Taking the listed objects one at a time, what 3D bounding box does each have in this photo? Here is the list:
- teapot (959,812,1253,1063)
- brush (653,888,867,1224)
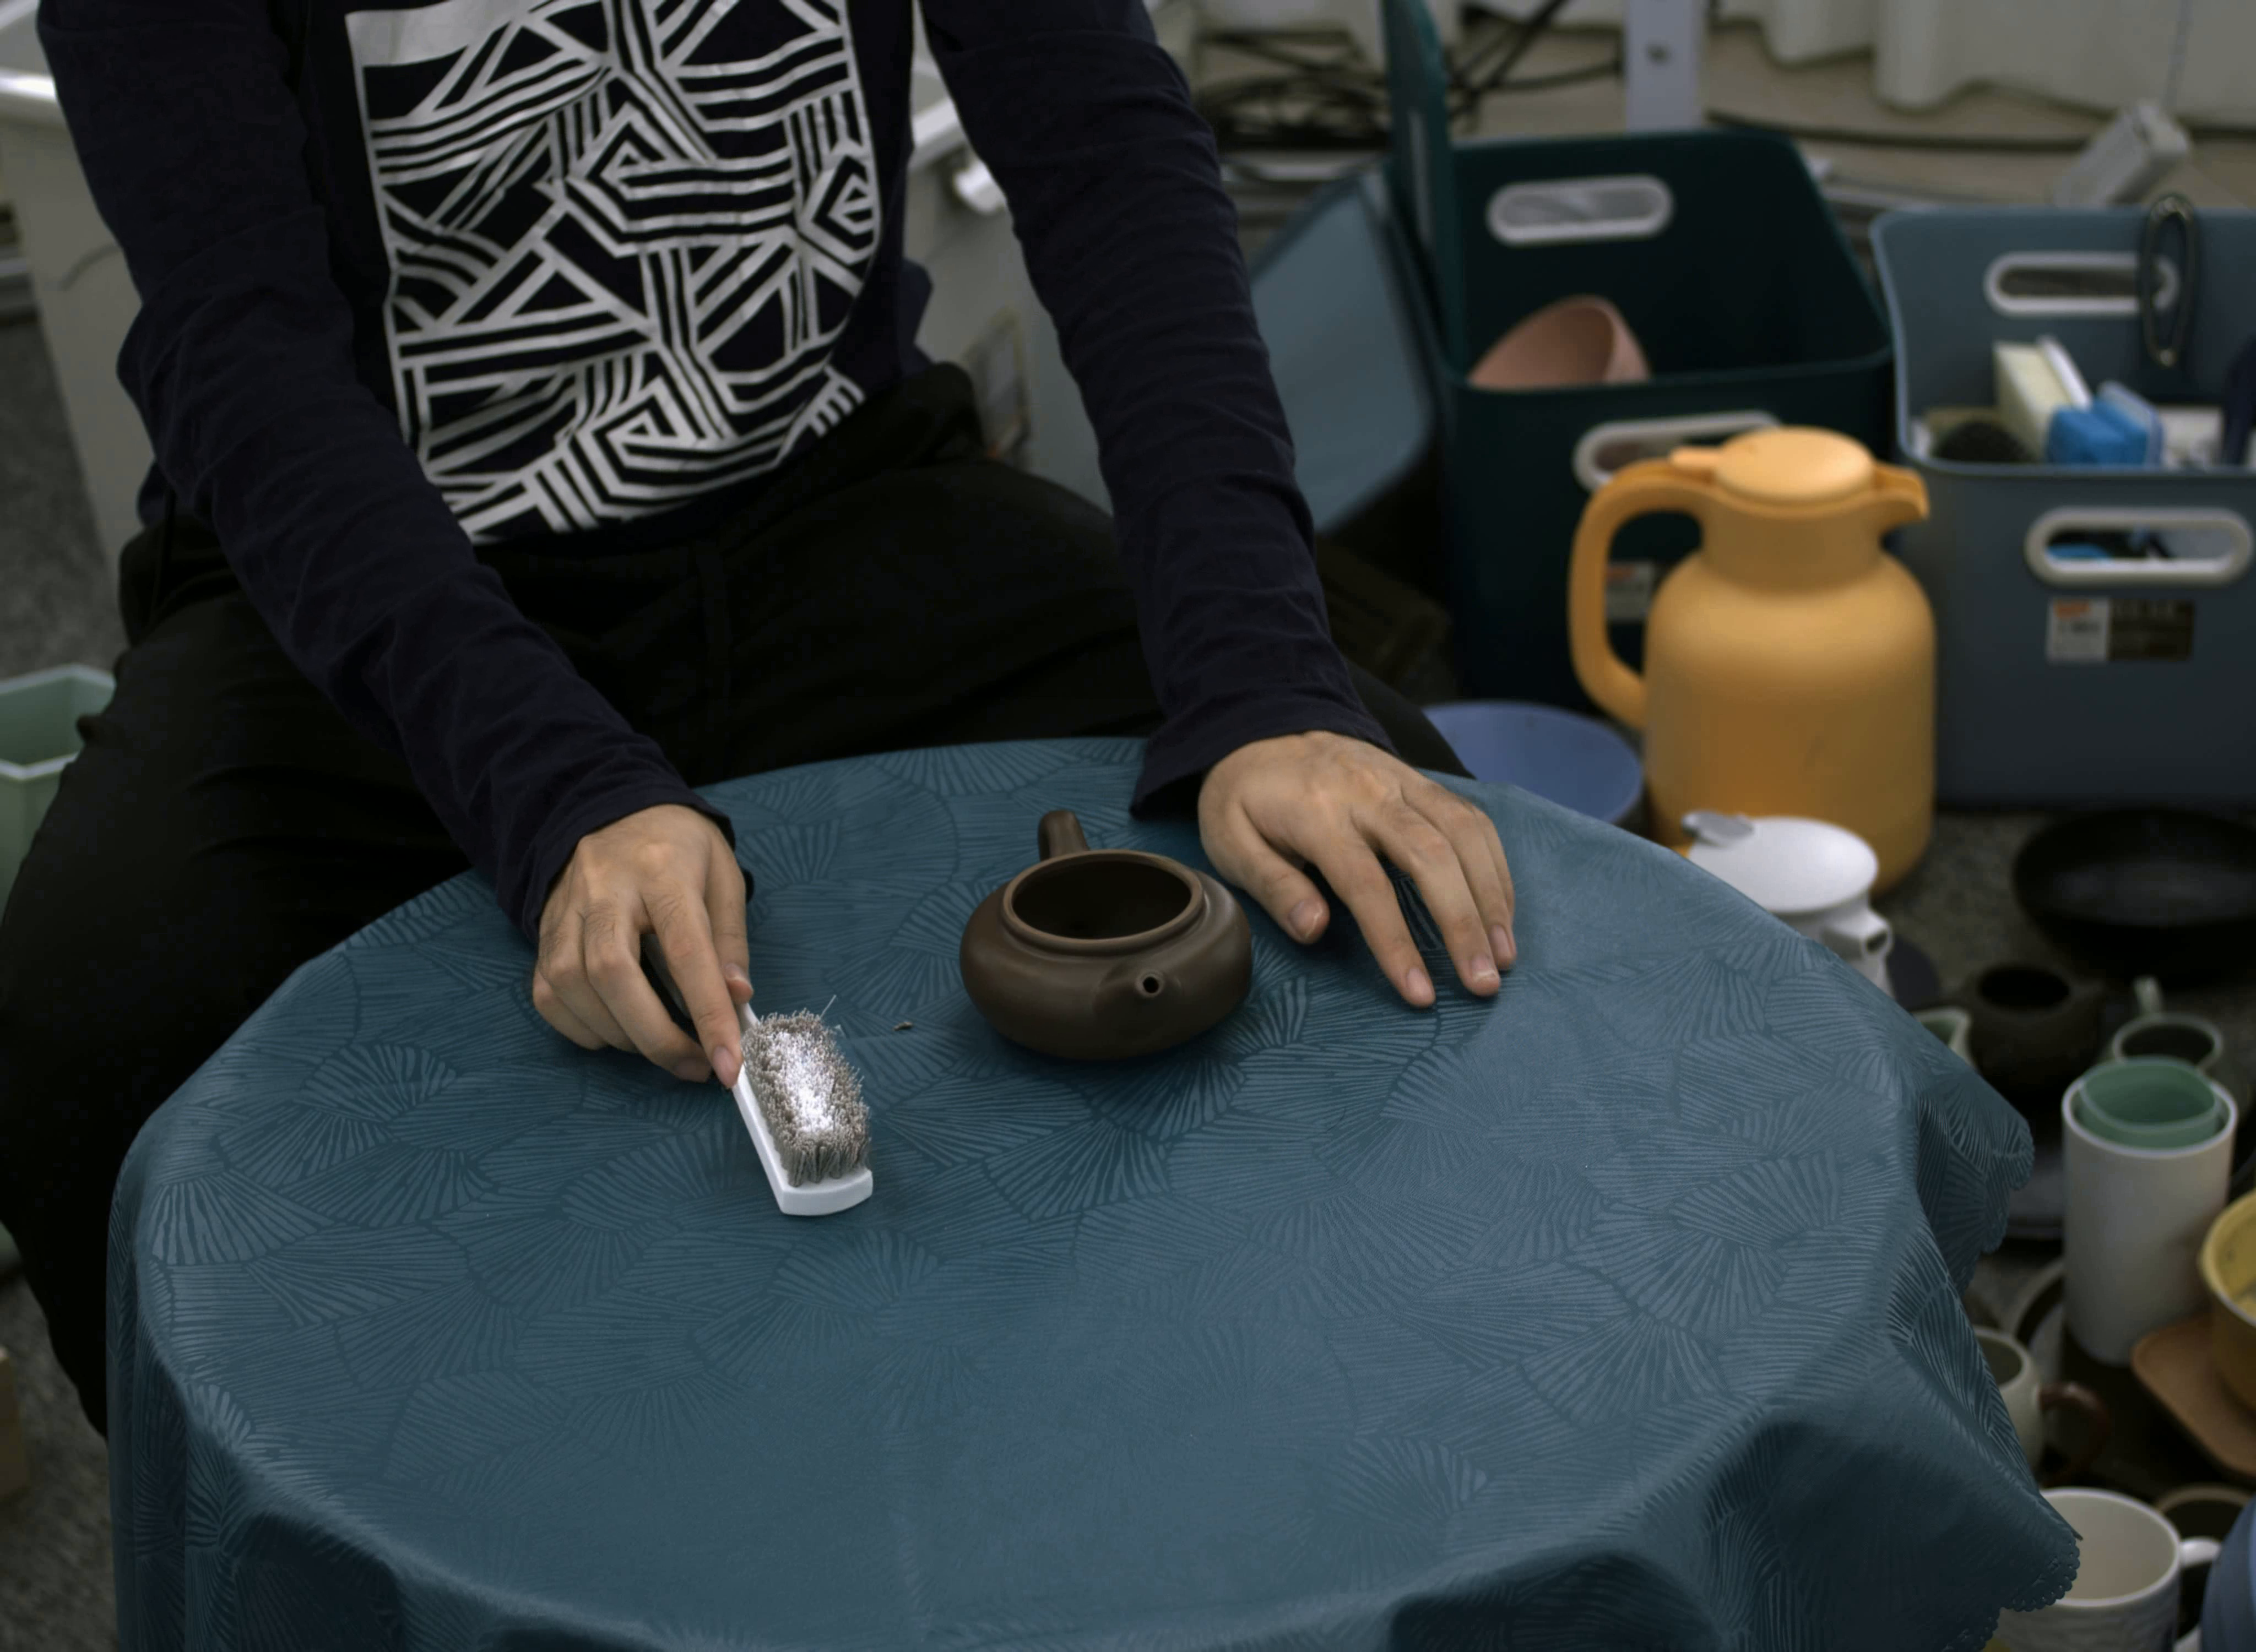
[{"bbox_3d":[-0.009,0.042,1.957,0.103,0.053,0.155,-11,29,-17],"label":"teapot"},{"bbox_3d":[-0.132,0.061,1.938,0.034,0.050,0.246,-11,28,-12],"label":"brush"}]
